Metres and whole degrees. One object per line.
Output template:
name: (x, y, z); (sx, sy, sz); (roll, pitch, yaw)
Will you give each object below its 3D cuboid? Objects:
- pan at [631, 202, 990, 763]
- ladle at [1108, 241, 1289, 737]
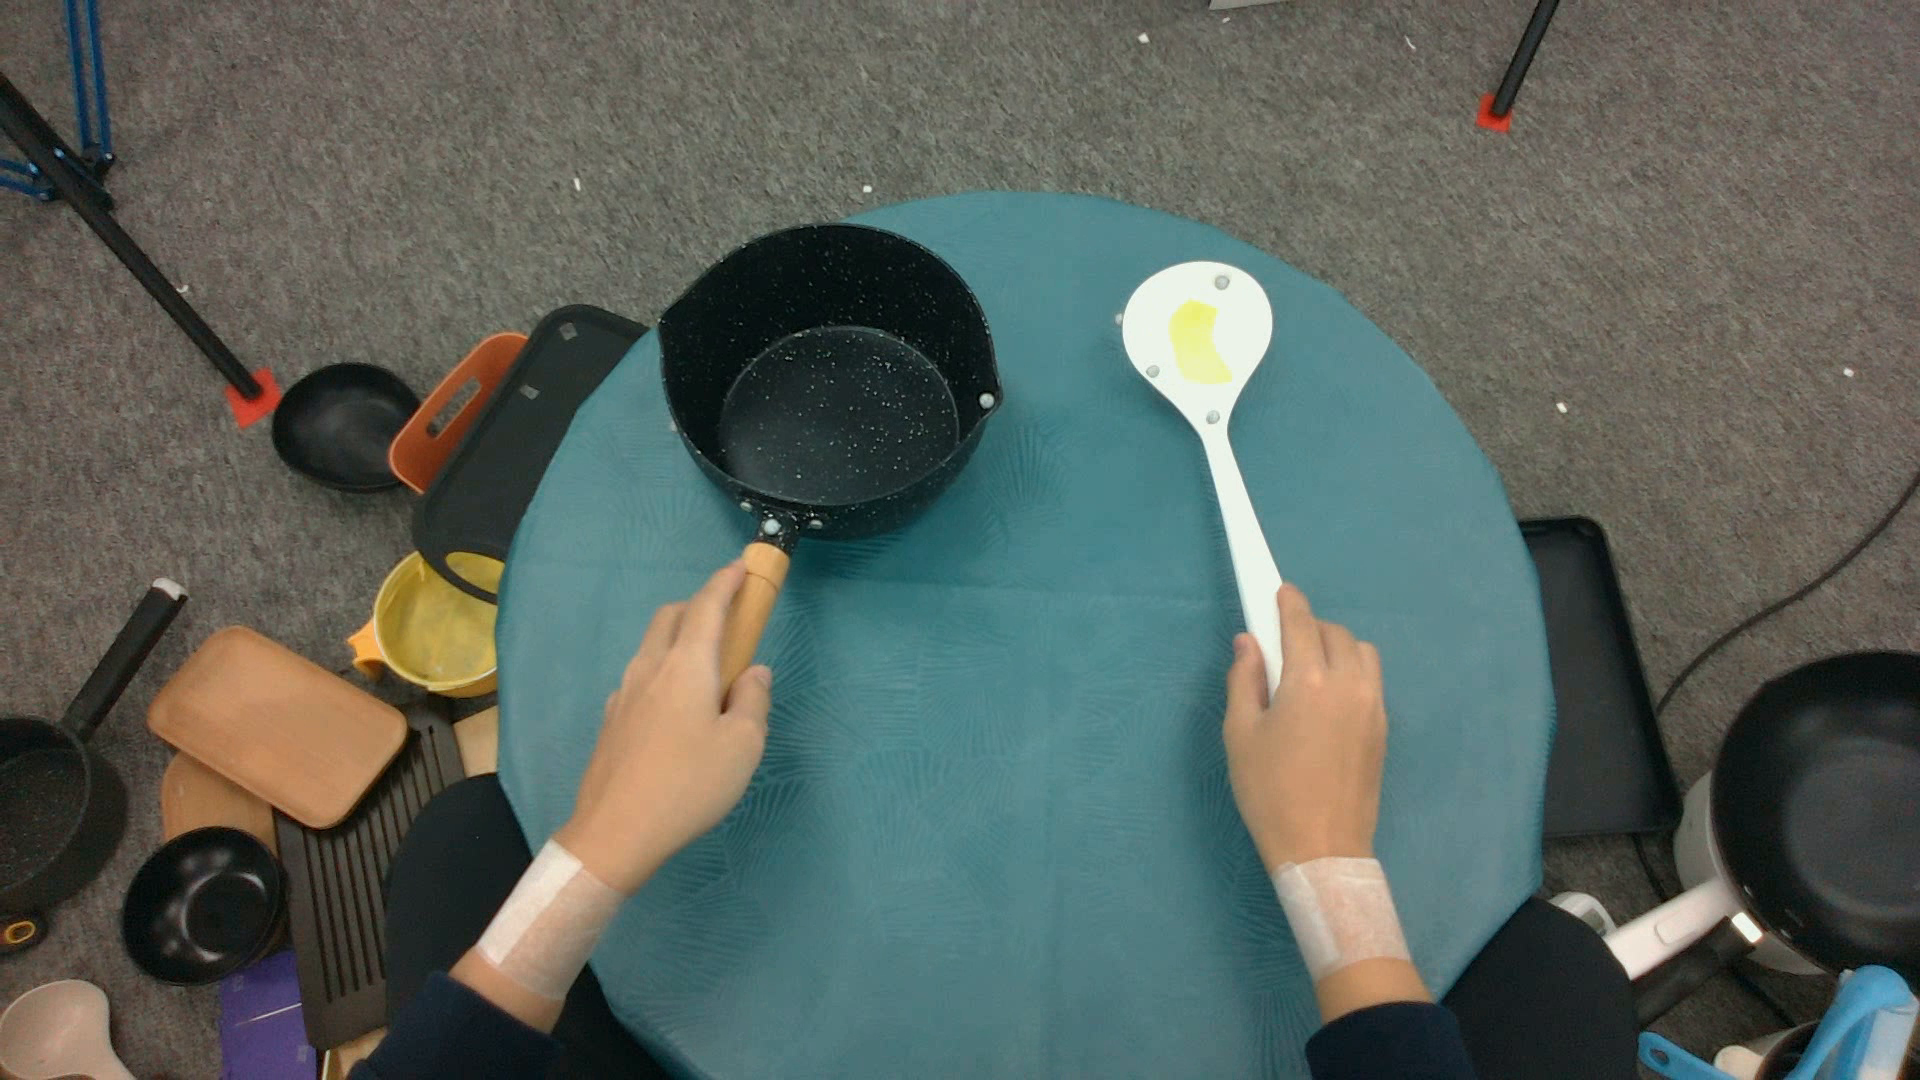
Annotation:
pan: (-0.100, -0.029, 0.756); (0.207, 0.108, 0.344); (12, 65, 3)
ladle: (0.144, -0.037, 0.782); (0.090, 0.069, 0.294); (-6, 60, 0)
